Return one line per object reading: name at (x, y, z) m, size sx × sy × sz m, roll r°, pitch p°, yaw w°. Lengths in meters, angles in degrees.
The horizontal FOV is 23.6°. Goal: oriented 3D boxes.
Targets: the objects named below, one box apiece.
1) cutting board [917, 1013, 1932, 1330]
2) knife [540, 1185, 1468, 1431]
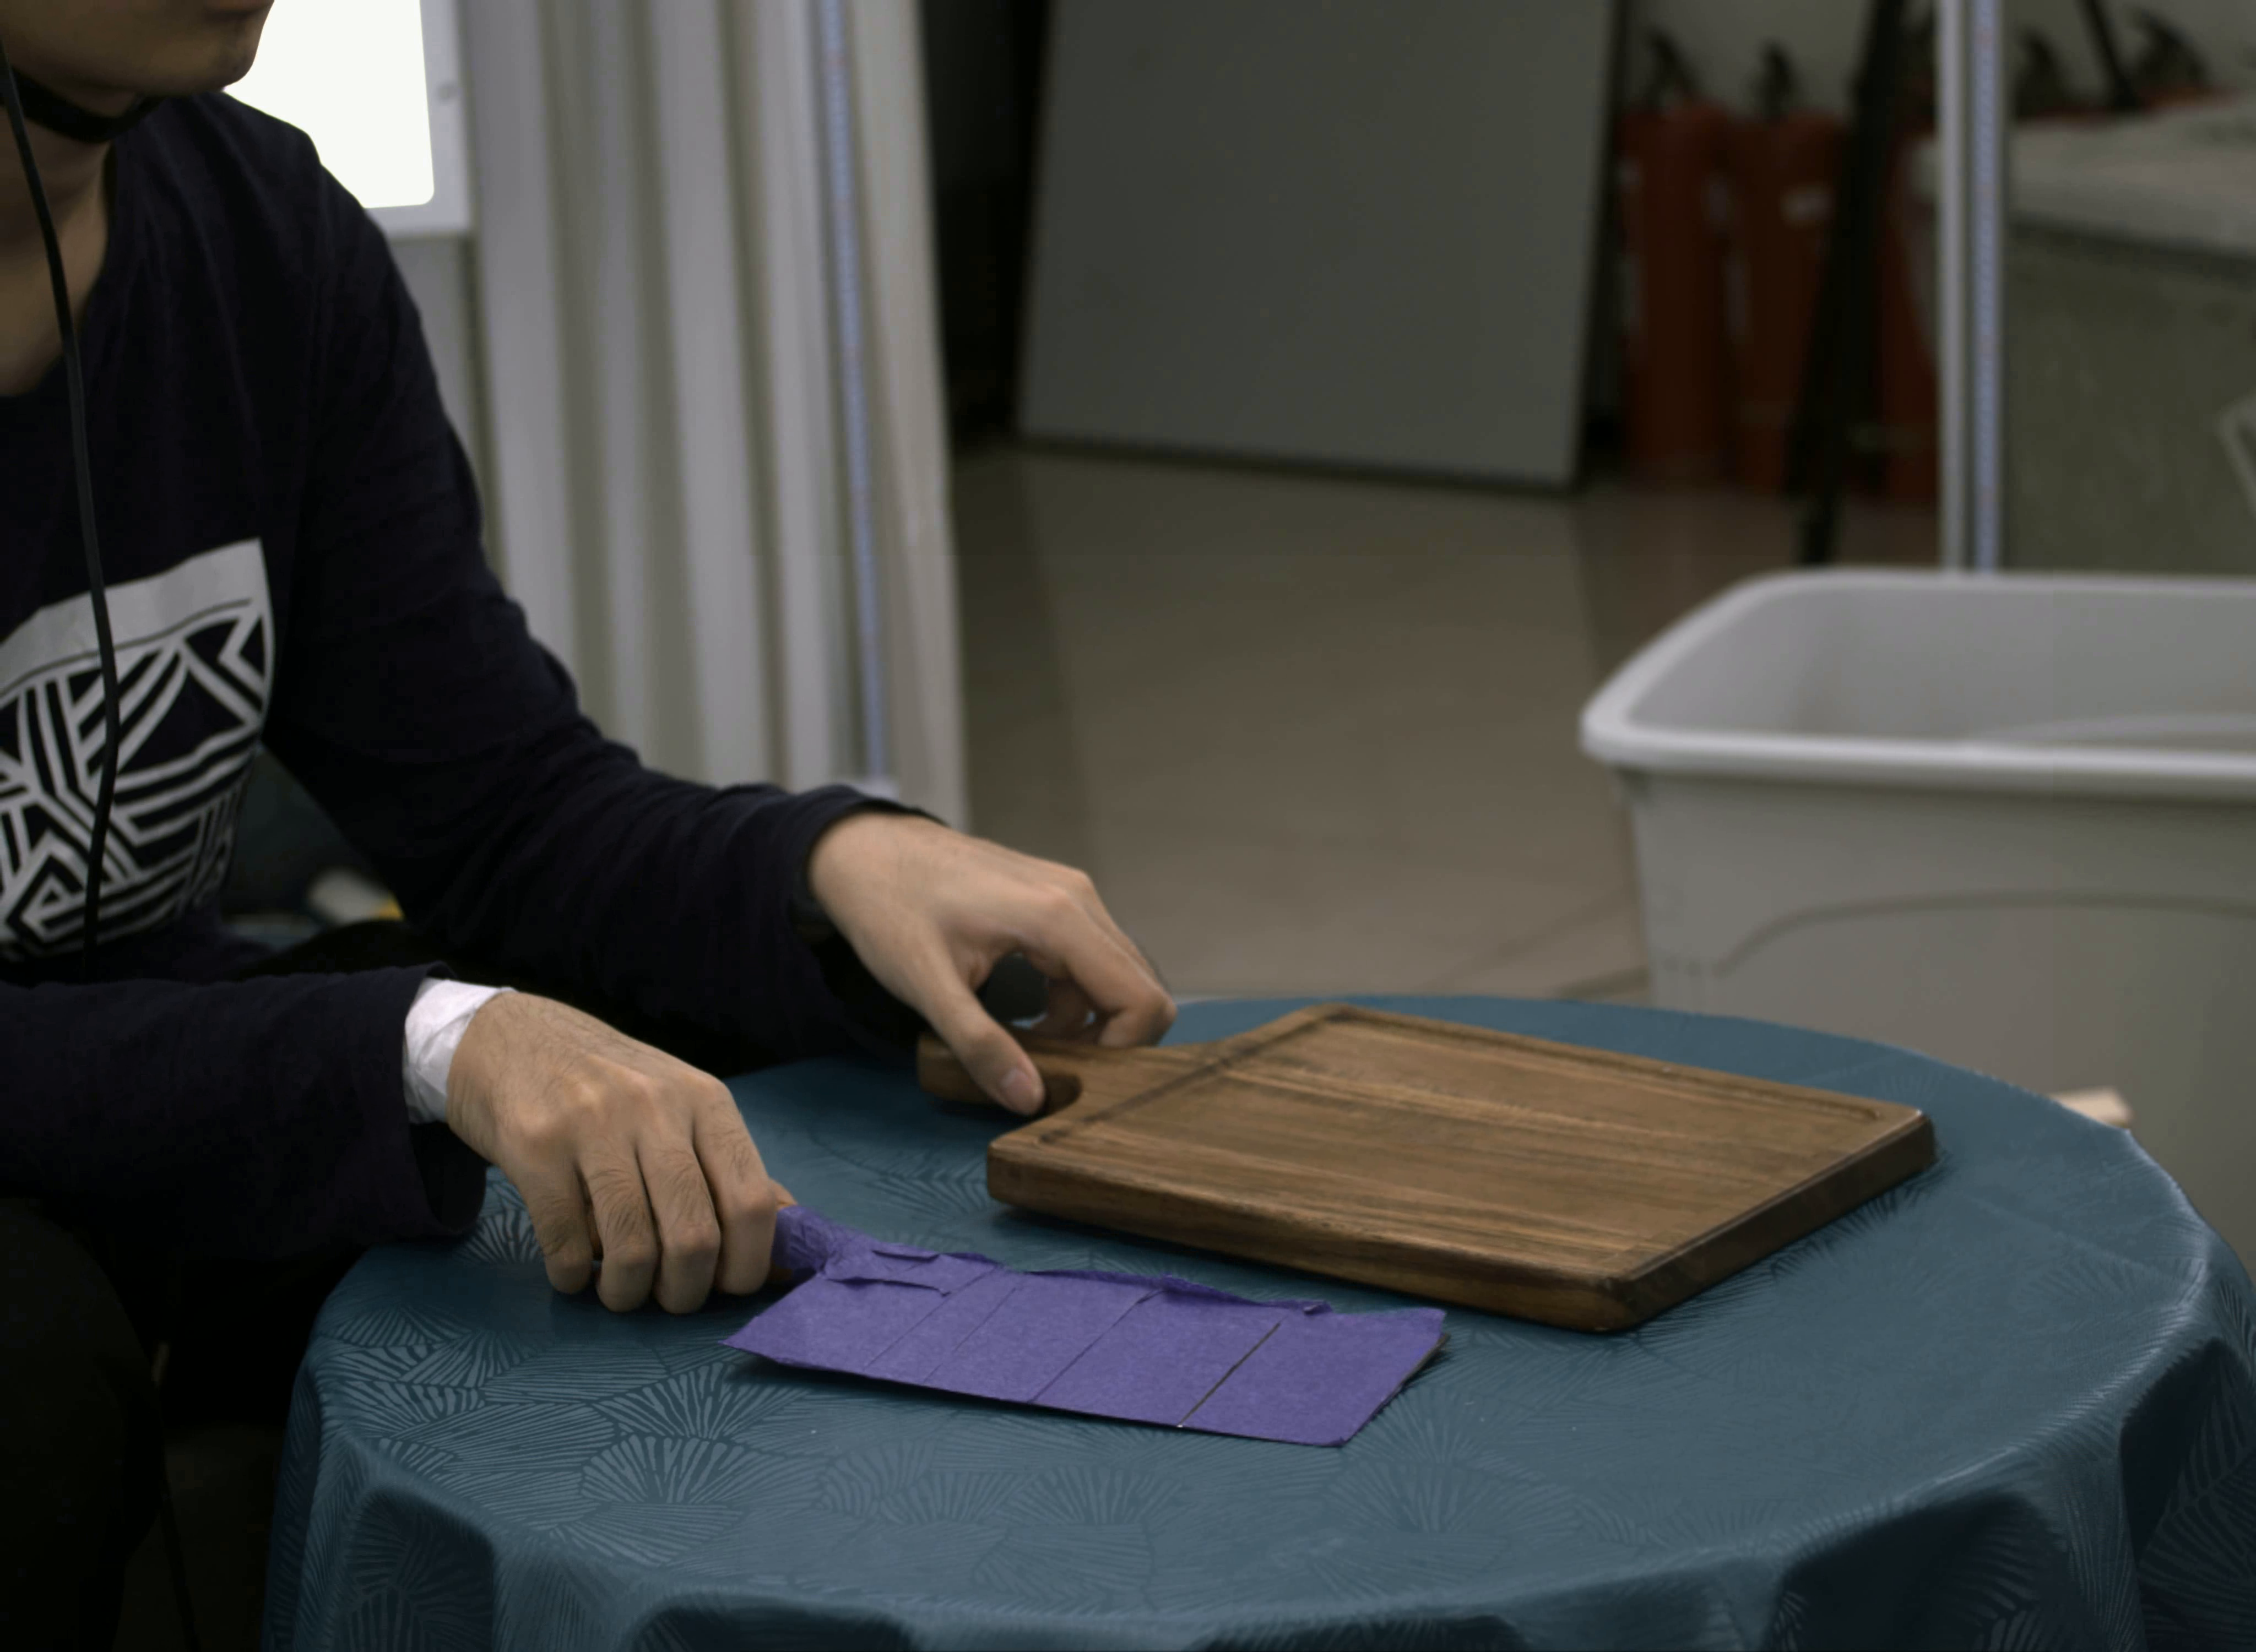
cutting board at (0.070, 0.103, 1.777) m, size 0.355 × 0.023 × 0.197 m, roll 8°, pitch 18°, yaw 39°
knife at (-0.056, 0.145, 1.636) m, size 0.316 × 0.032 × 0.102 m, roll 3°, pitch 17°, yaw 28°
